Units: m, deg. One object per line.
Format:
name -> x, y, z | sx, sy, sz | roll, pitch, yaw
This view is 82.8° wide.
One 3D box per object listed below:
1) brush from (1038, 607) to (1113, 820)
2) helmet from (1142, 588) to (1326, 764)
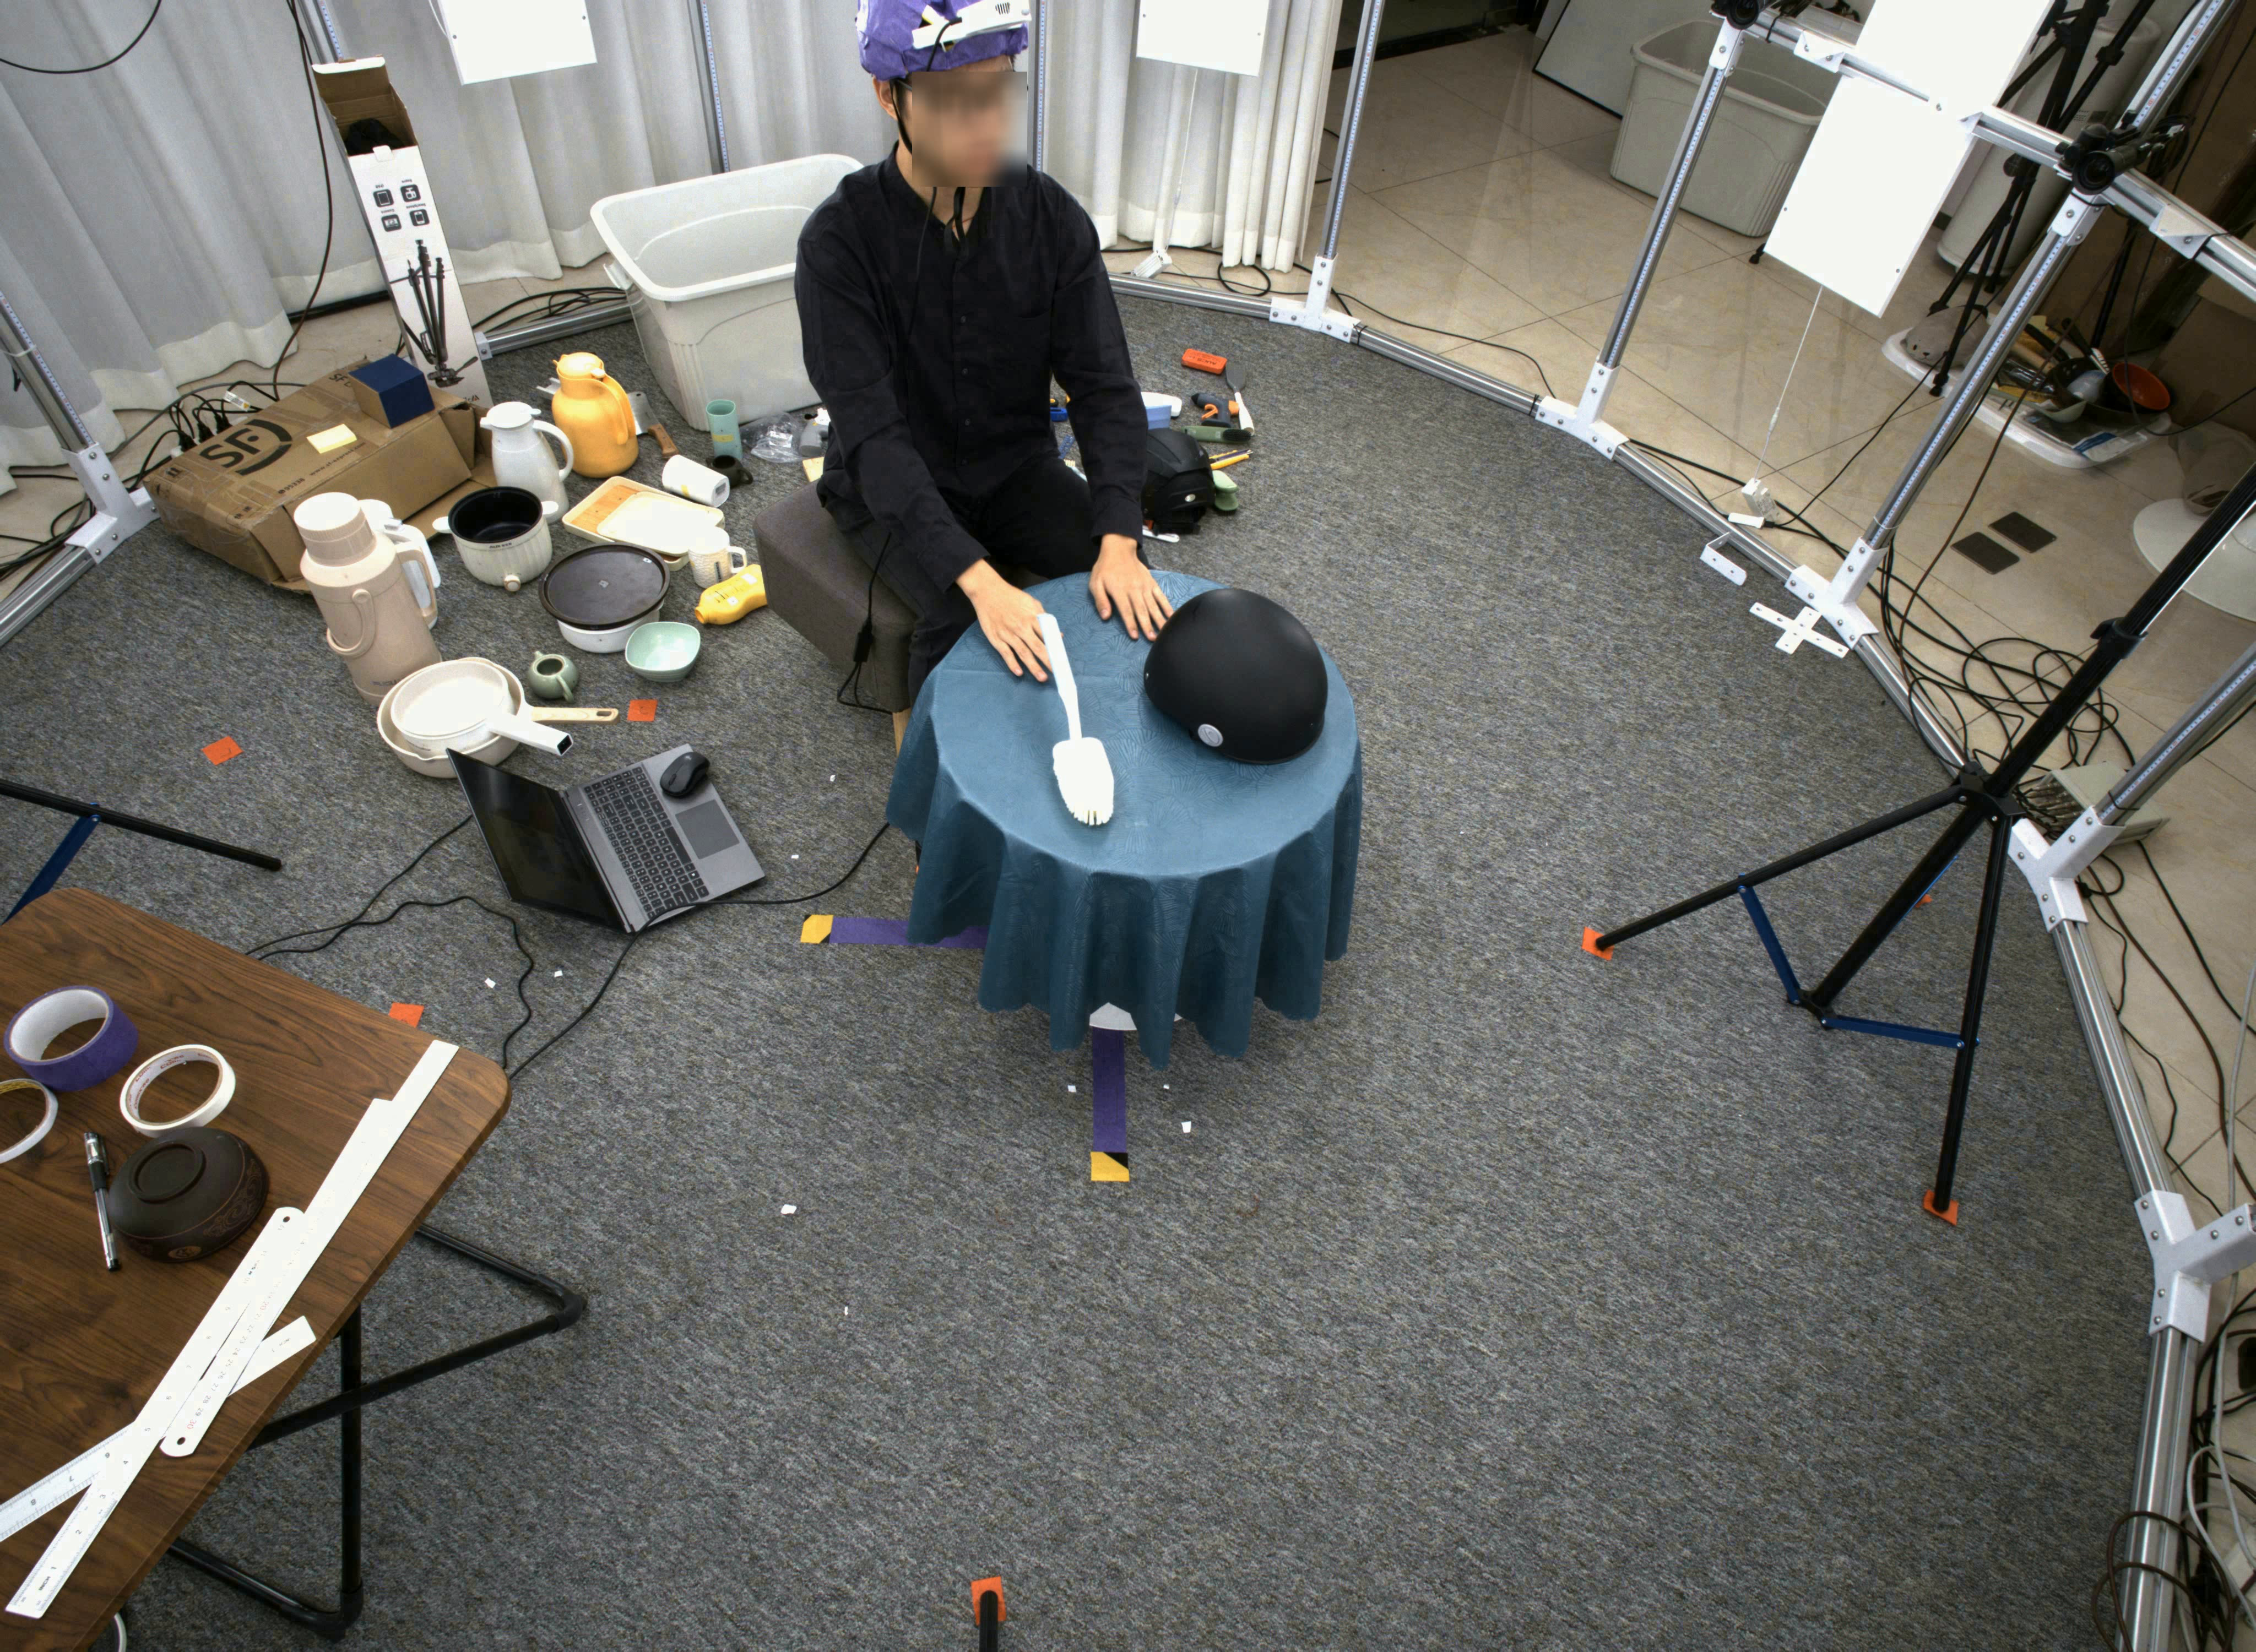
brush -> -0.076, -0.150, 1.739 | 0.082, 0.083, 0.332 | 13, 51, -44
helmet -> 0.156, -0.227, 1.776 | 0.277, 0.163, 0.232 | 39, 60, 23
